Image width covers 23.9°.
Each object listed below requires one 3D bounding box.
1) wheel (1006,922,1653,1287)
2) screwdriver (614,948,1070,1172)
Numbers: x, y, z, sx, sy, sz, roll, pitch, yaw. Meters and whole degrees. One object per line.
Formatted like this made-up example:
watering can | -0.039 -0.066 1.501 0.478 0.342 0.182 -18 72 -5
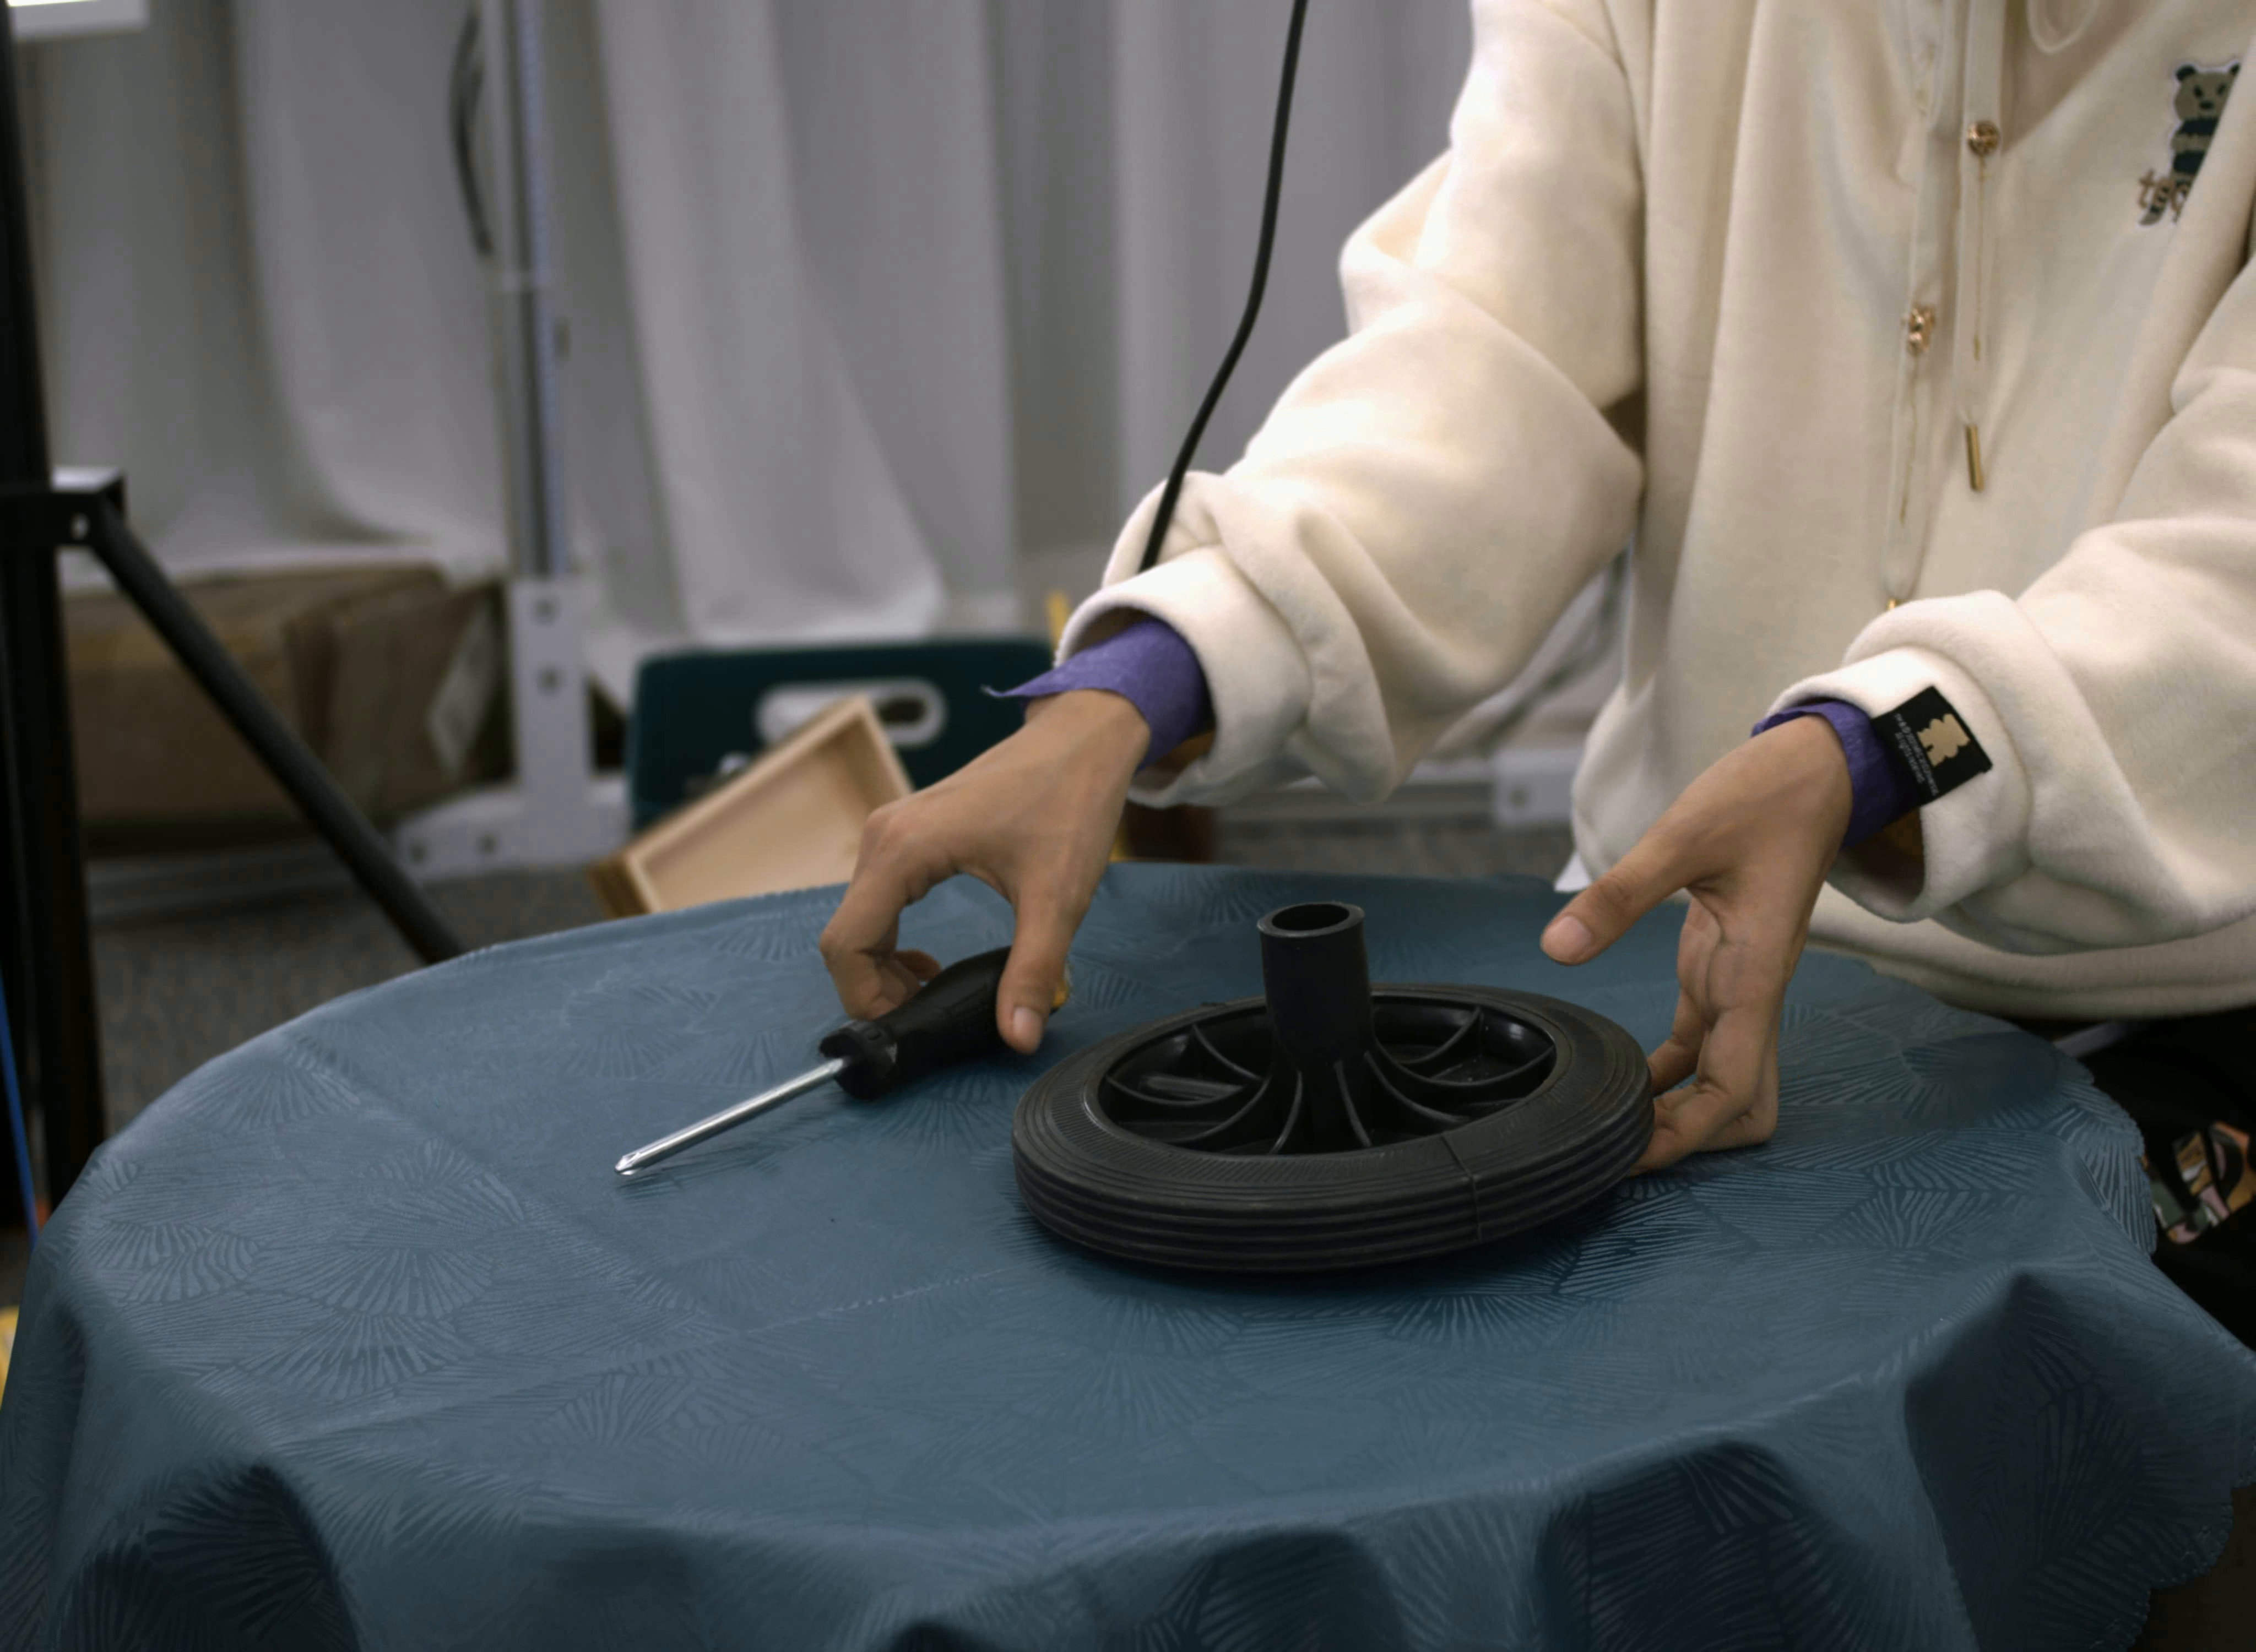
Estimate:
wheel | 0.055 0.070 1.542 0.191 0.079 0.186 -5 17 15
screwdriver | -0.086 0.074 1.647 0.032 0.031 0.192 11 22 38
